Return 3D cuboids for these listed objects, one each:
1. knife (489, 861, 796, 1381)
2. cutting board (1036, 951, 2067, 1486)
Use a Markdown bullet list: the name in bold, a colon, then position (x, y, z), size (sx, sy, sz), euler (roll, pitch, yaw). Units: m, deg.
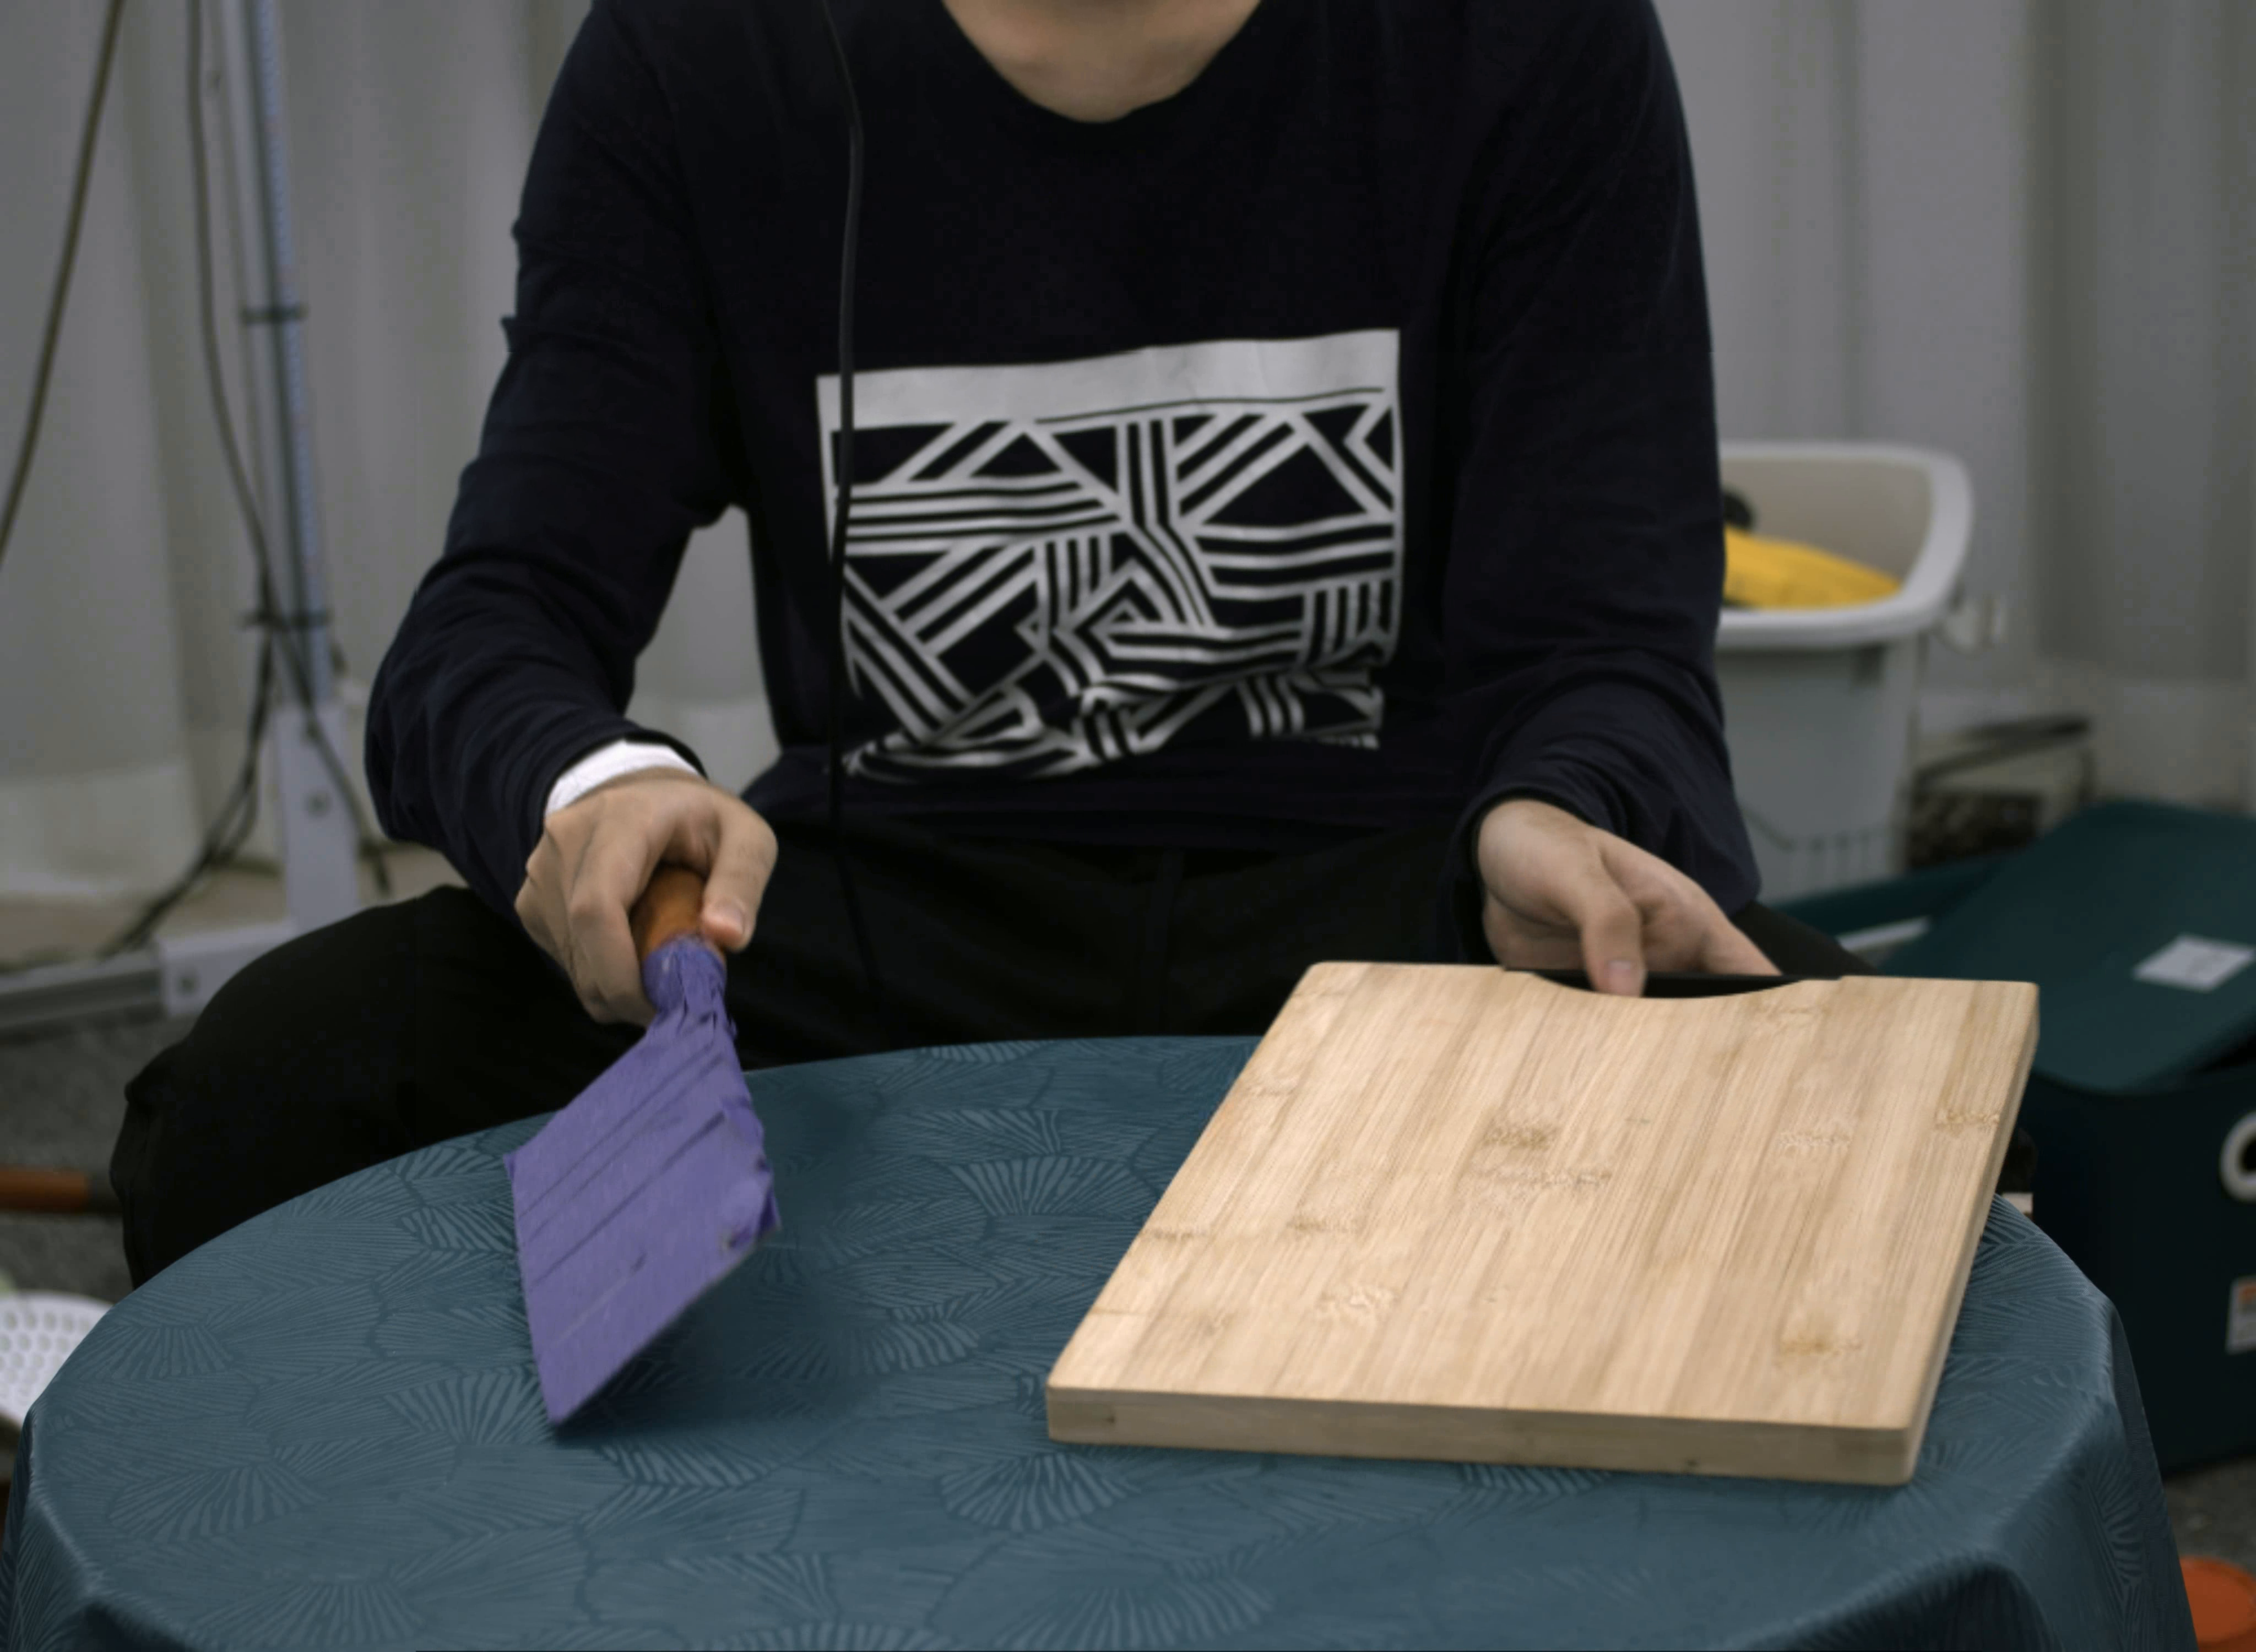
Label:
- **knife**: position (-0.156, 0.085, 1.668), size (0.104, 0.032, 0.318), euler (-42, 17, 4)
- **cutting board**: position (0.137, 0.109, 1.636), size (0.250, 0.023, 0.350), euler (1, 19, 16)
